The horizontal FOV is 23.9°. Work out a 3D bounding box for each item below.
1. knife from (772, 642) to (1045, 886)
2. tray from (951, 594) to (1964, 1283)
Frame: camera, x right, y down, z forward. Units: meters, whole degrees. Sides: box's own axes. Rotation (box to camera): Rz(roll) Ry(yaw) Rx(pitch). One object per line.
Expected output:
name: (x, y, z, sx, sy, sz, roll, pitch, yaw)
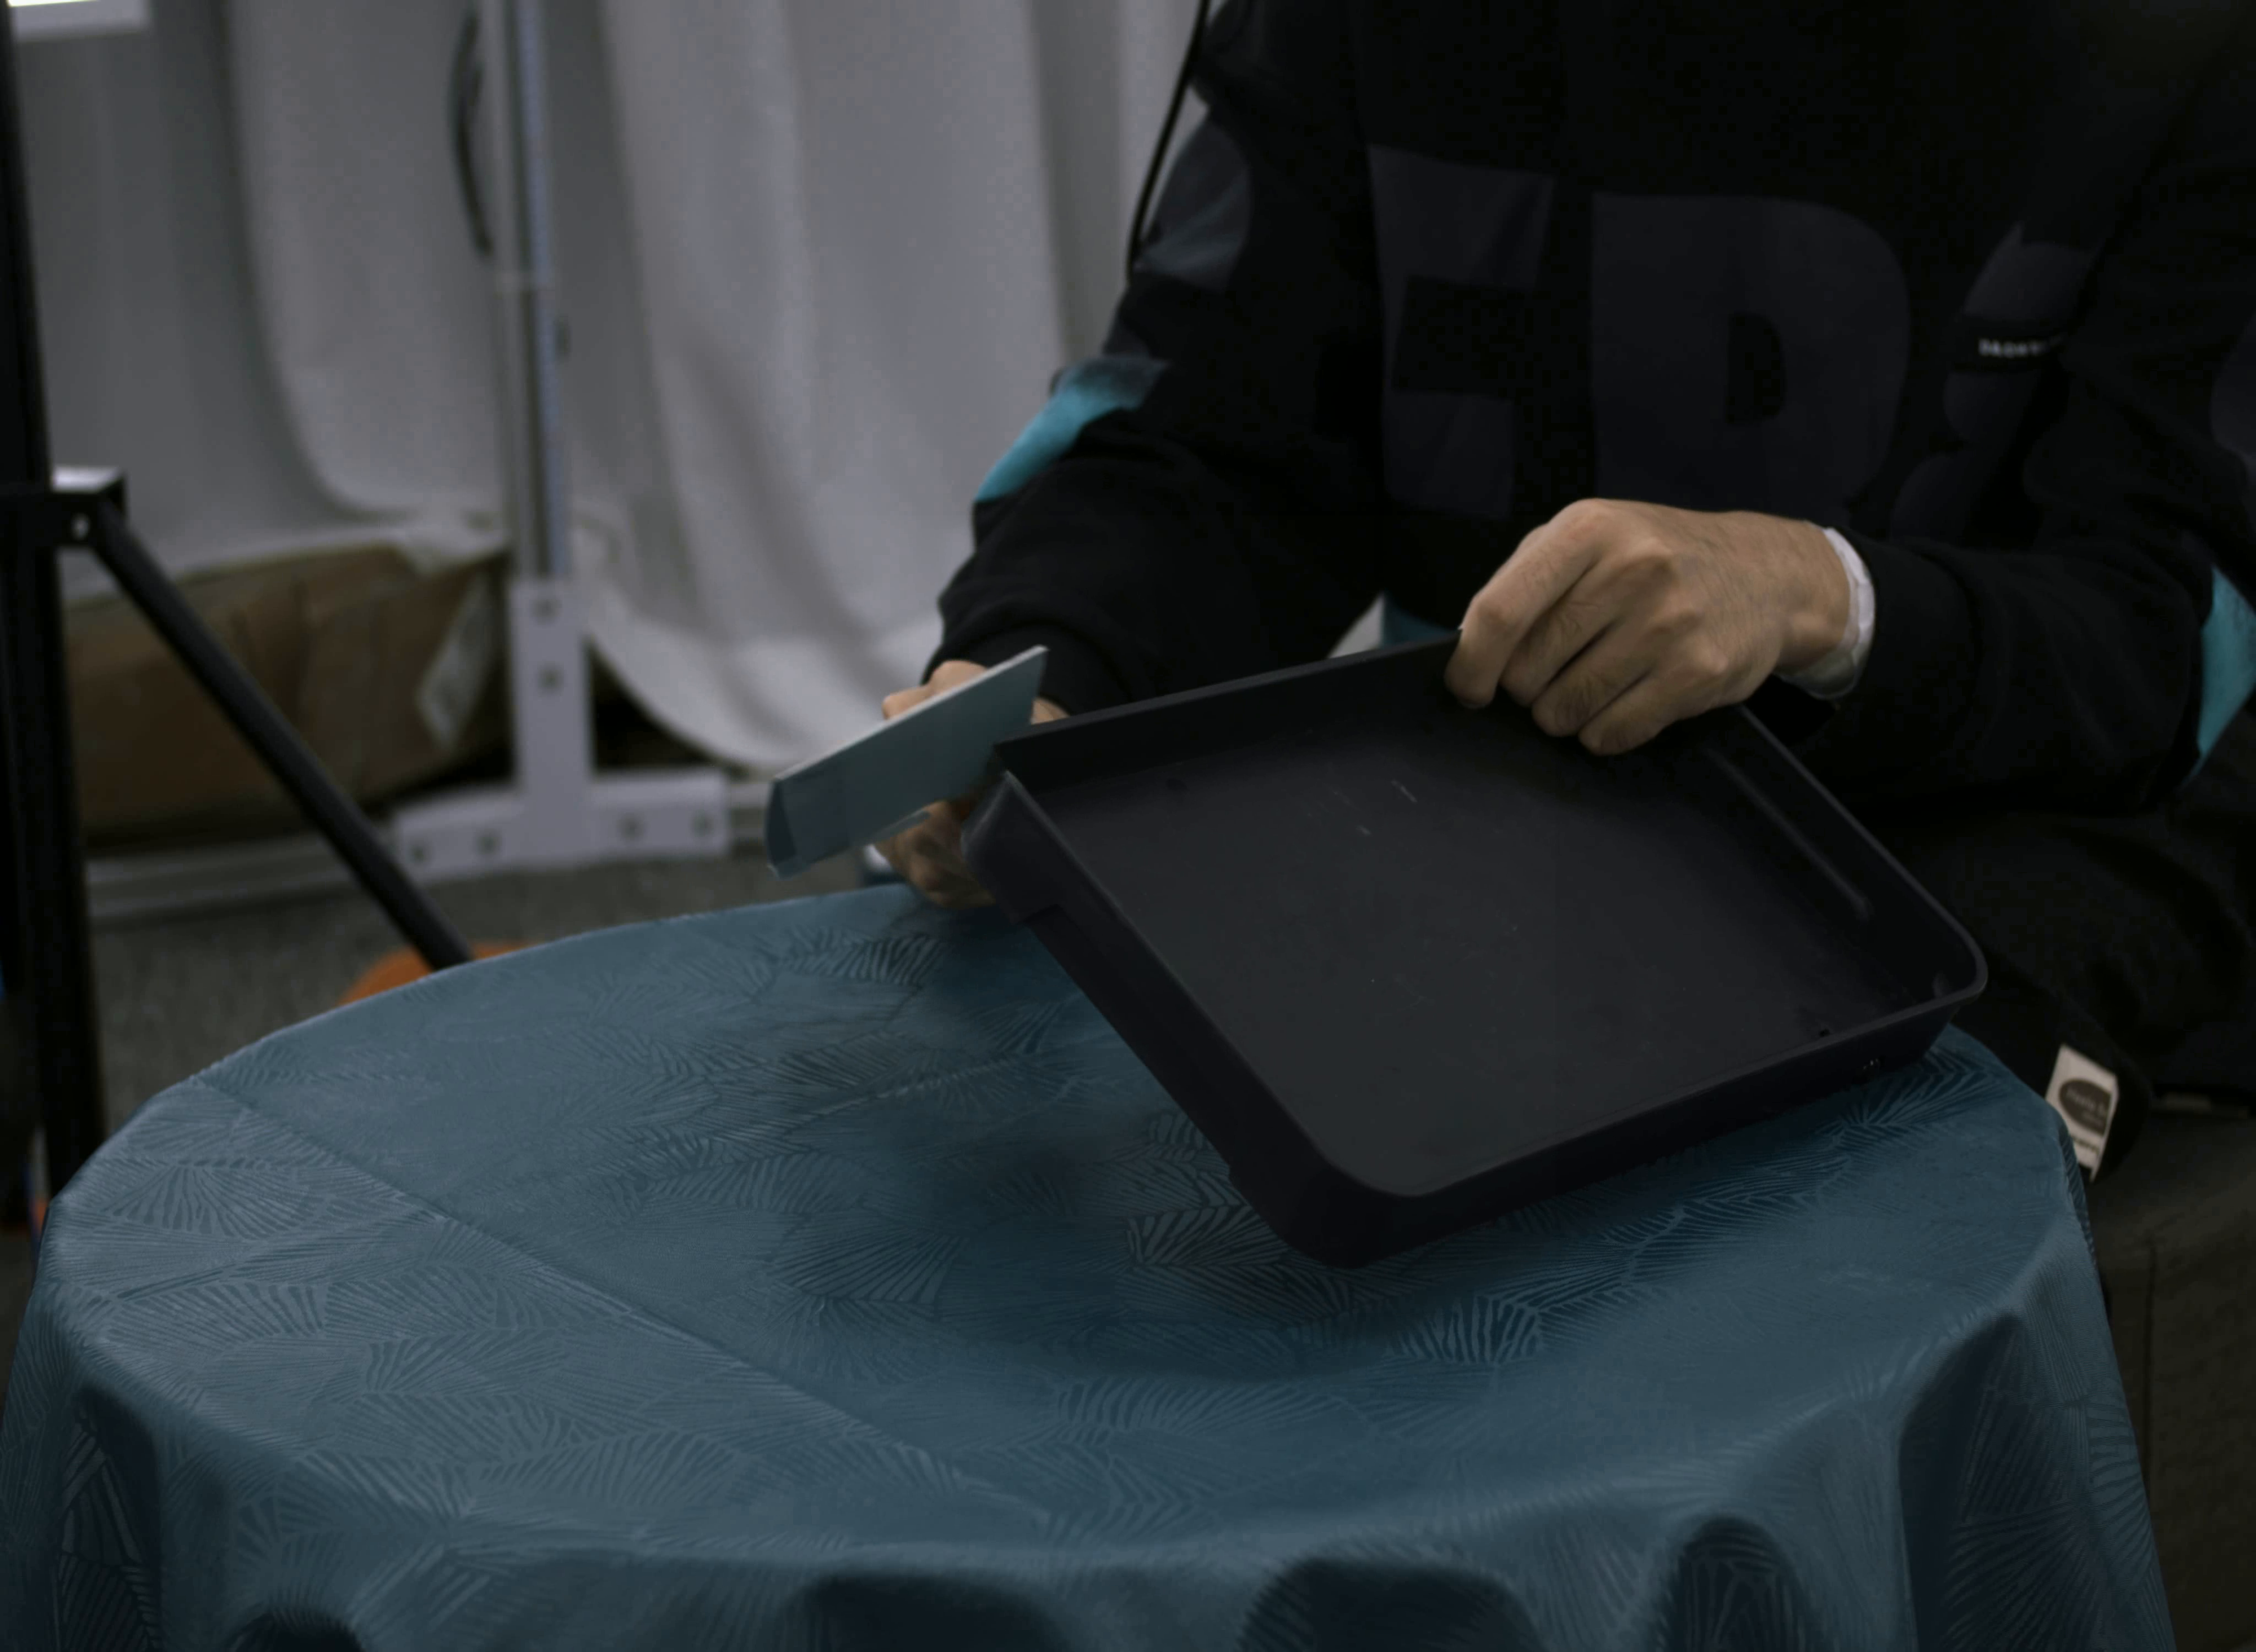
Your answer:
knife: (-0.071, -0.009, 1.688, 0.092, 0.021, 0.305, -27, -7, -7)
tray: (0.102, 0.026, 1.559, 0.311, 0.037, 0.187, -15, 55, -48)
